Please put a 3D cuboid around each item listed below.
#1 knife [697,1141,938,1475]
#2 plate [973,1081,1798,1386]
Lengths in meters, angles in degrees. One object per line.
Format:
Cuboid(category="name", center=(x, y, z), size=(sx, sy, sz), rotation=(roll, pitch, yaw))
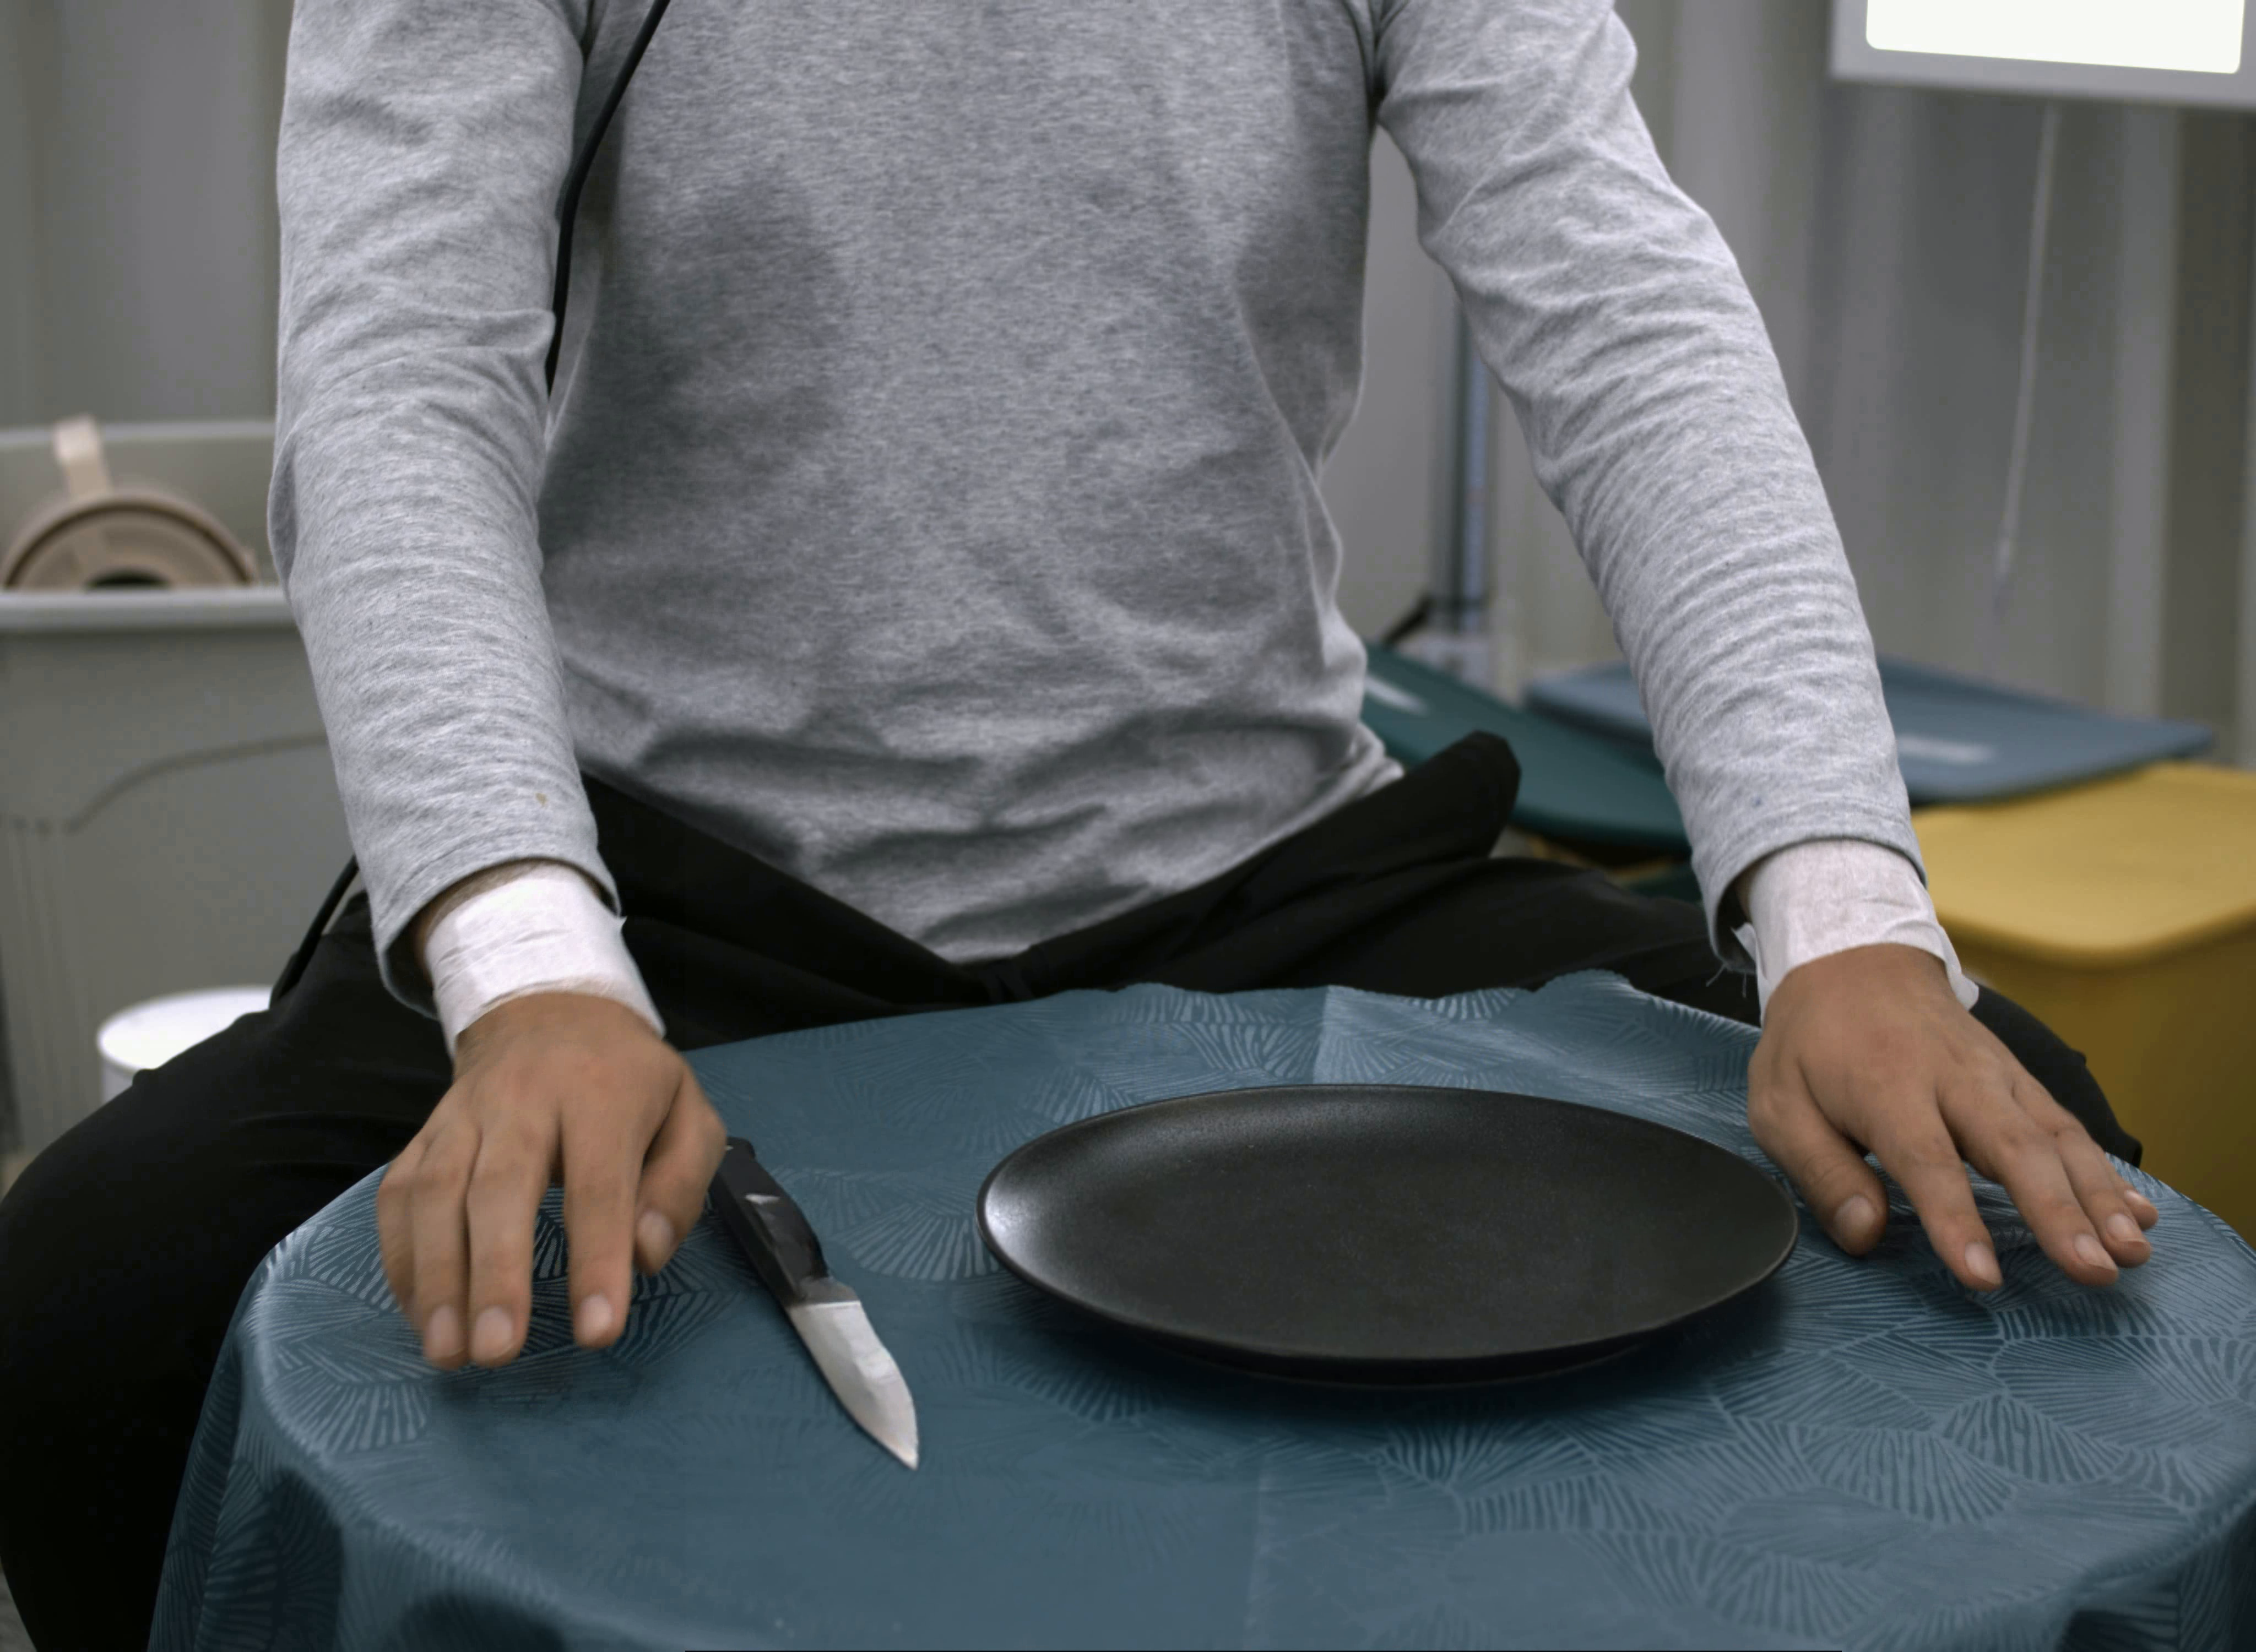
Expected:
Cuboid(category="knife", center=(-0.091, 0.137, 1.510), size=(0.024, 0.016, 0.235), rotation=(-4, 19, -17))
Cuboid(category="plate", center=(0.075, 0.122, 1.550), size=(0.243, 0.023, 0.243), rotation=(1, 15, 0))
